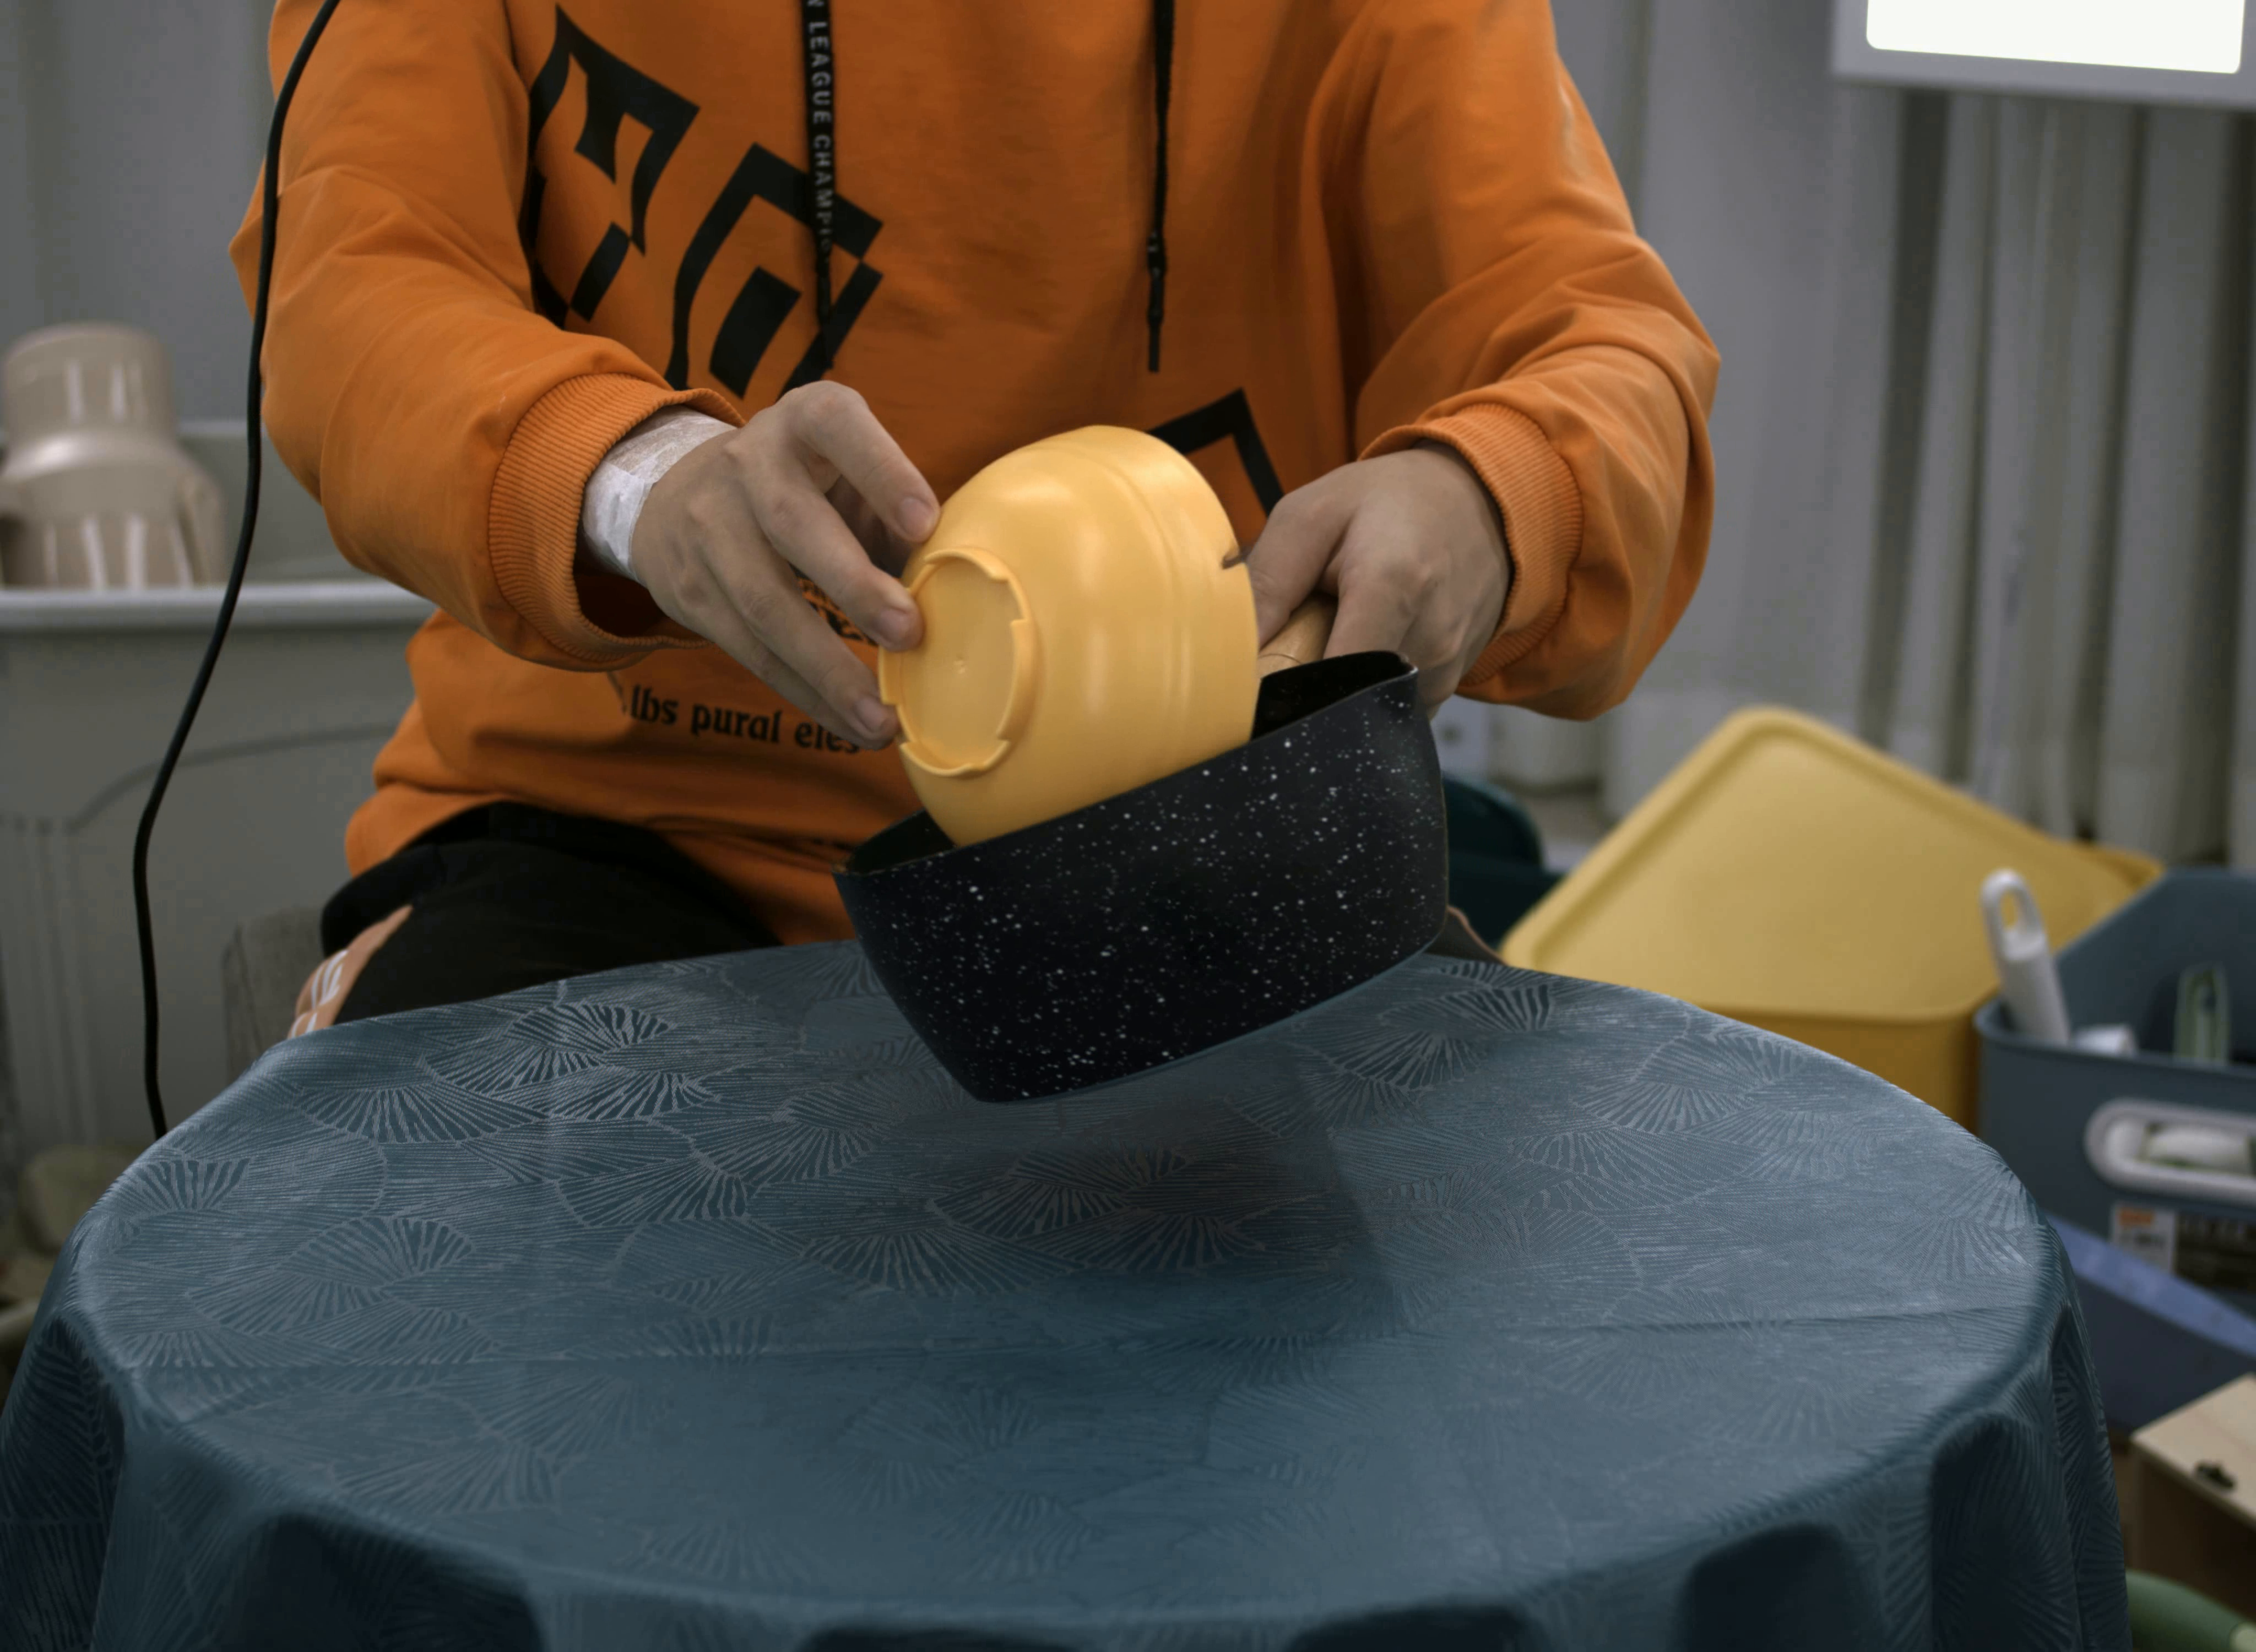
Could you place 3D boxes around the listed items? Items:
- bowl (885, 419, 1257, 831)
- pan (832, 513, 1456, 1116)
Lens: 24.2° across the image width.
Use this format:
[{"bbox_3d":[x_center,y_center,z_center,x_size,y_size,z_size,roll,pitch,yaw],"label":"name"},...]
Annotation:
[{"bbox_3d":[-0.029,-0.046,1.539,0.060,0.146,0.143,-5,16,-38],"label":"bowl"},{"bbox_3d":[0.034,-0.012,1.652,0.206,0.109,0.343,-19,8,23],"label":"pan"}]
